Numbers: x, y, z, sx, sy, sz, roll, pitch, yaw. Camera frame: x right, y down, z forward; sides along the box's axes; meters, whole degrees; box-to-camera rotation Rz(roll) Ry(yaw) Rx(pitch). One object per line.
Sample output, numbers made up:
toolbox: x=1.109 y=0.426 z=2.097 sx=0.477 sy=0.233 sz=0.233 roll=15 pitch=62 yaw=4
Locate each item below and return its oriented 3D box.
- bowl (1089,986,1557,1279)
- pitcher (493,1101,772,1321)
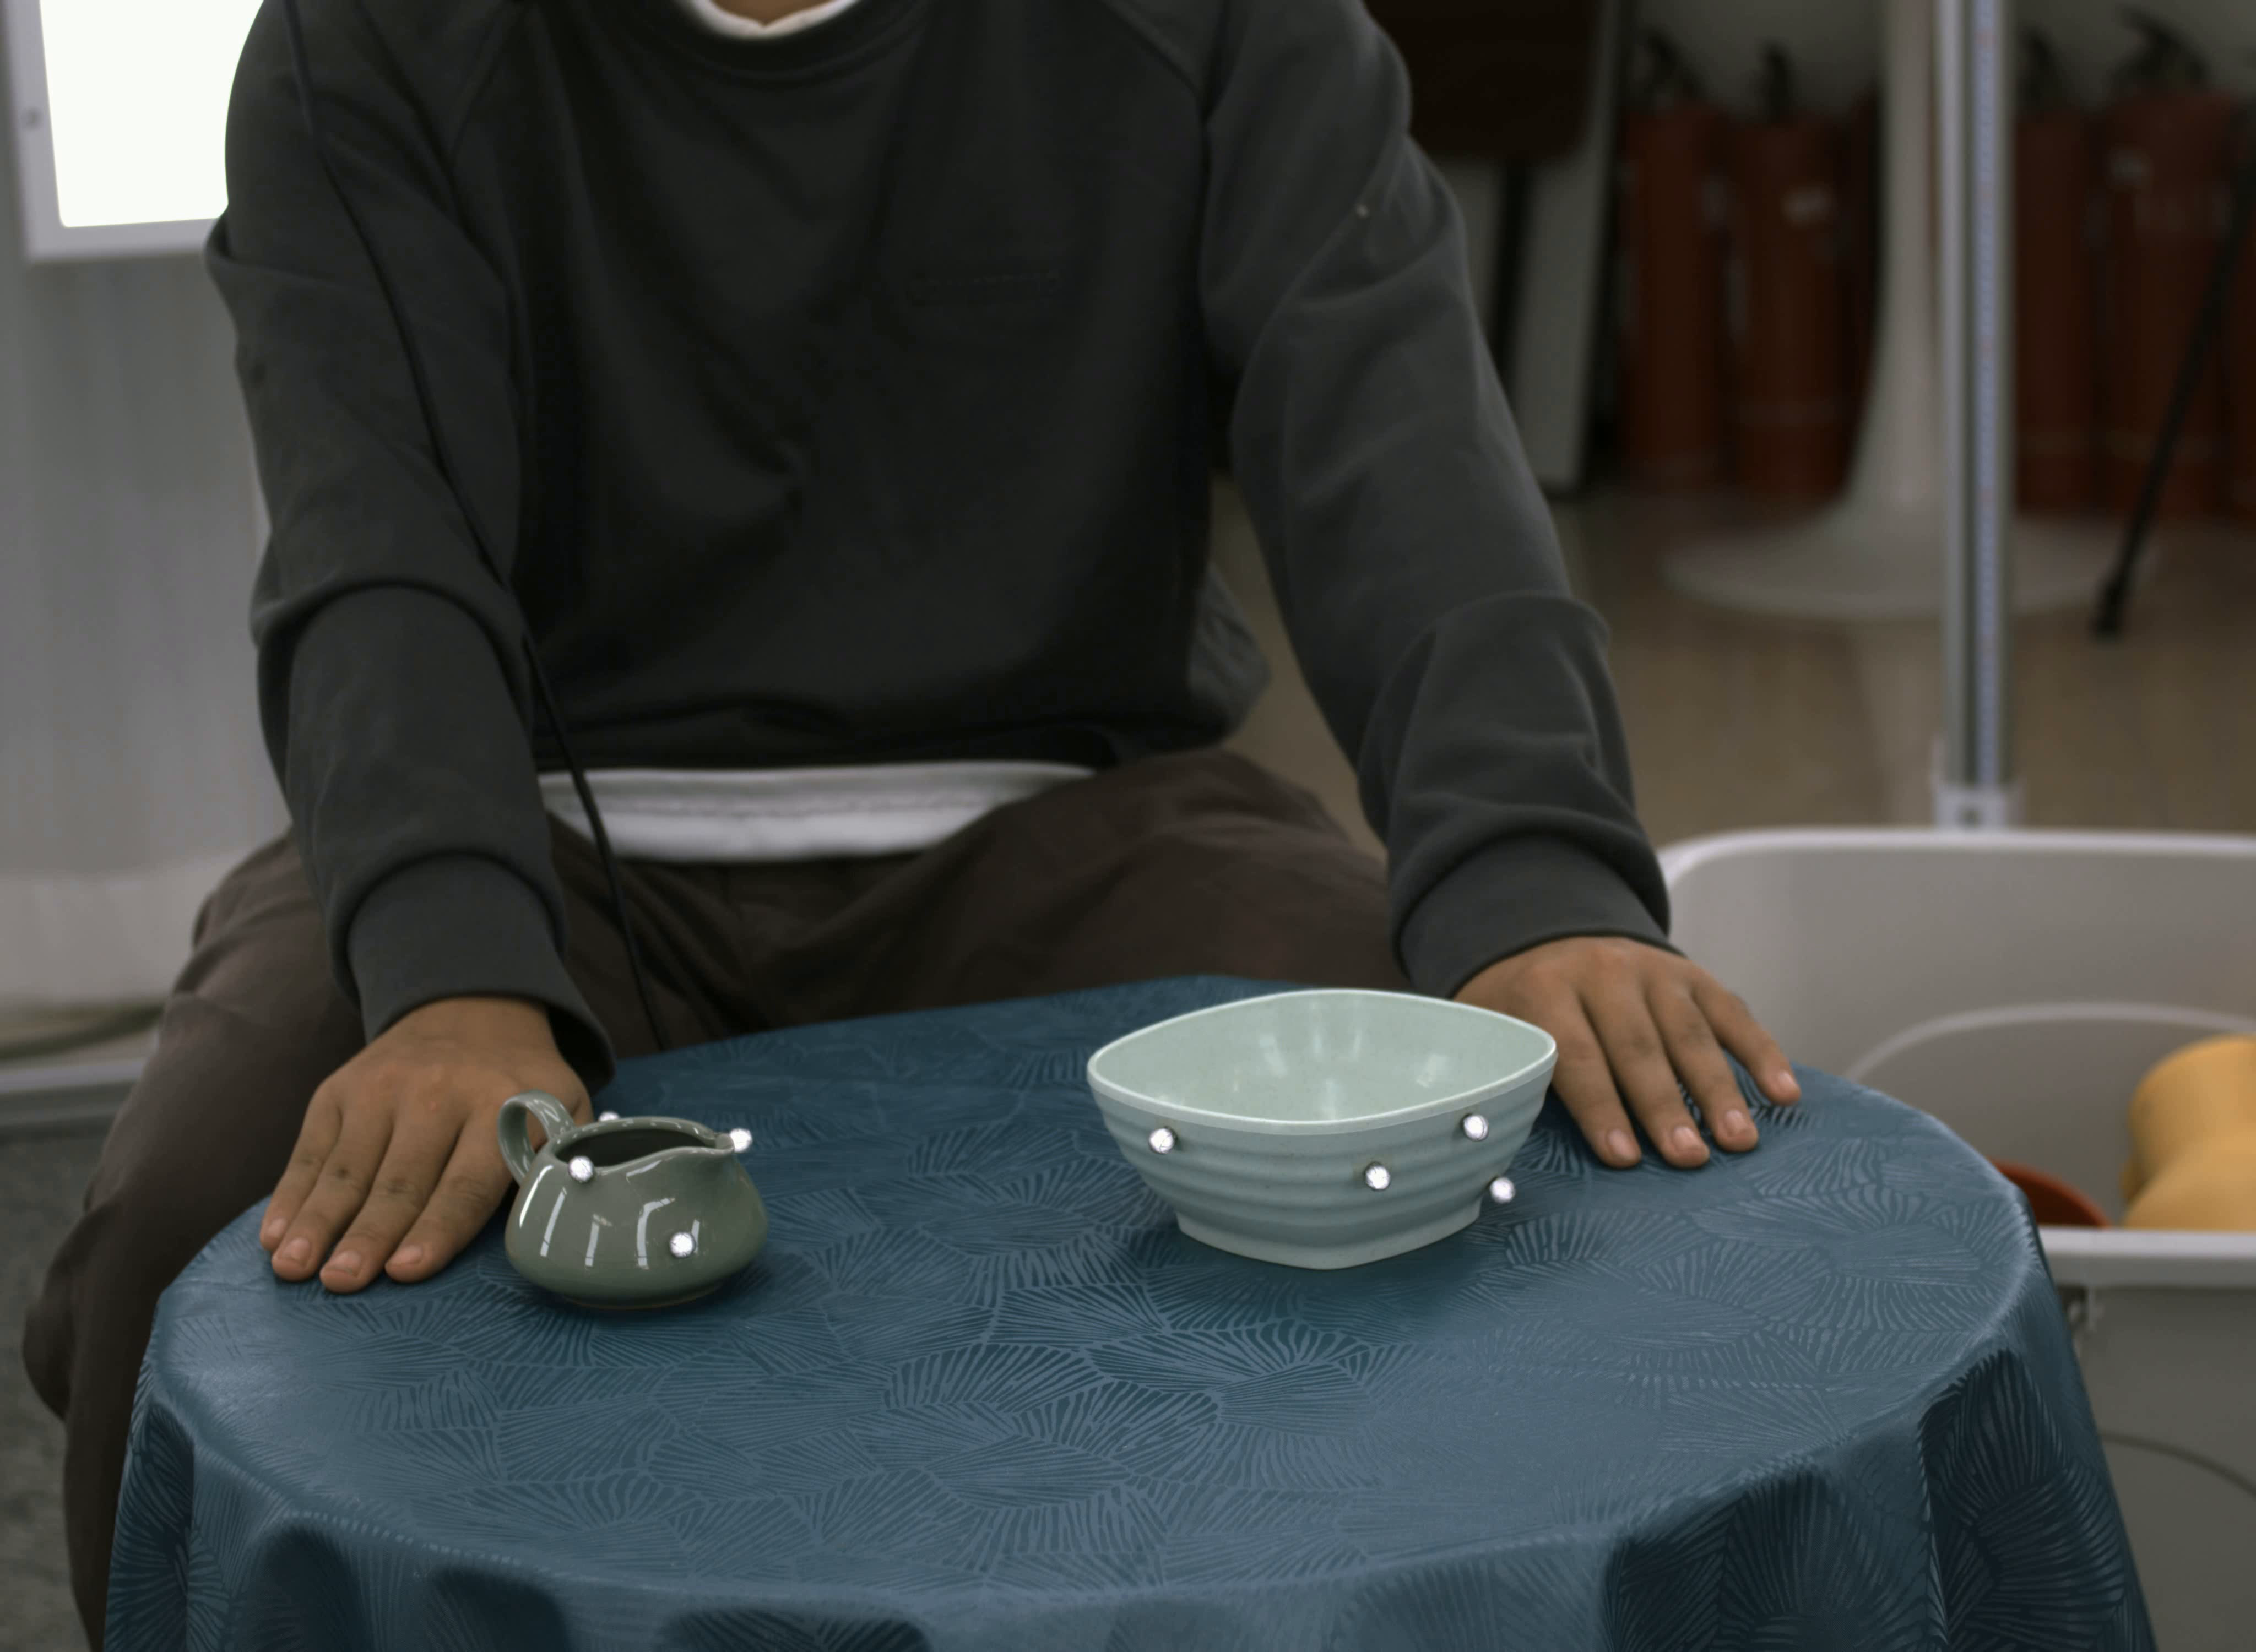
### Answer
bowl: x=0.063 y=0.101 z=1.724 sx=0.149 sy=0.059 sz=0.152 roll=-4 pitch=15 yaw=0
pitcher: x=-0.159 y=0.121 z=1.710 sx=0.113 sy=0.057 sz=0.082 roll=8 pitch=18 yaw=44
